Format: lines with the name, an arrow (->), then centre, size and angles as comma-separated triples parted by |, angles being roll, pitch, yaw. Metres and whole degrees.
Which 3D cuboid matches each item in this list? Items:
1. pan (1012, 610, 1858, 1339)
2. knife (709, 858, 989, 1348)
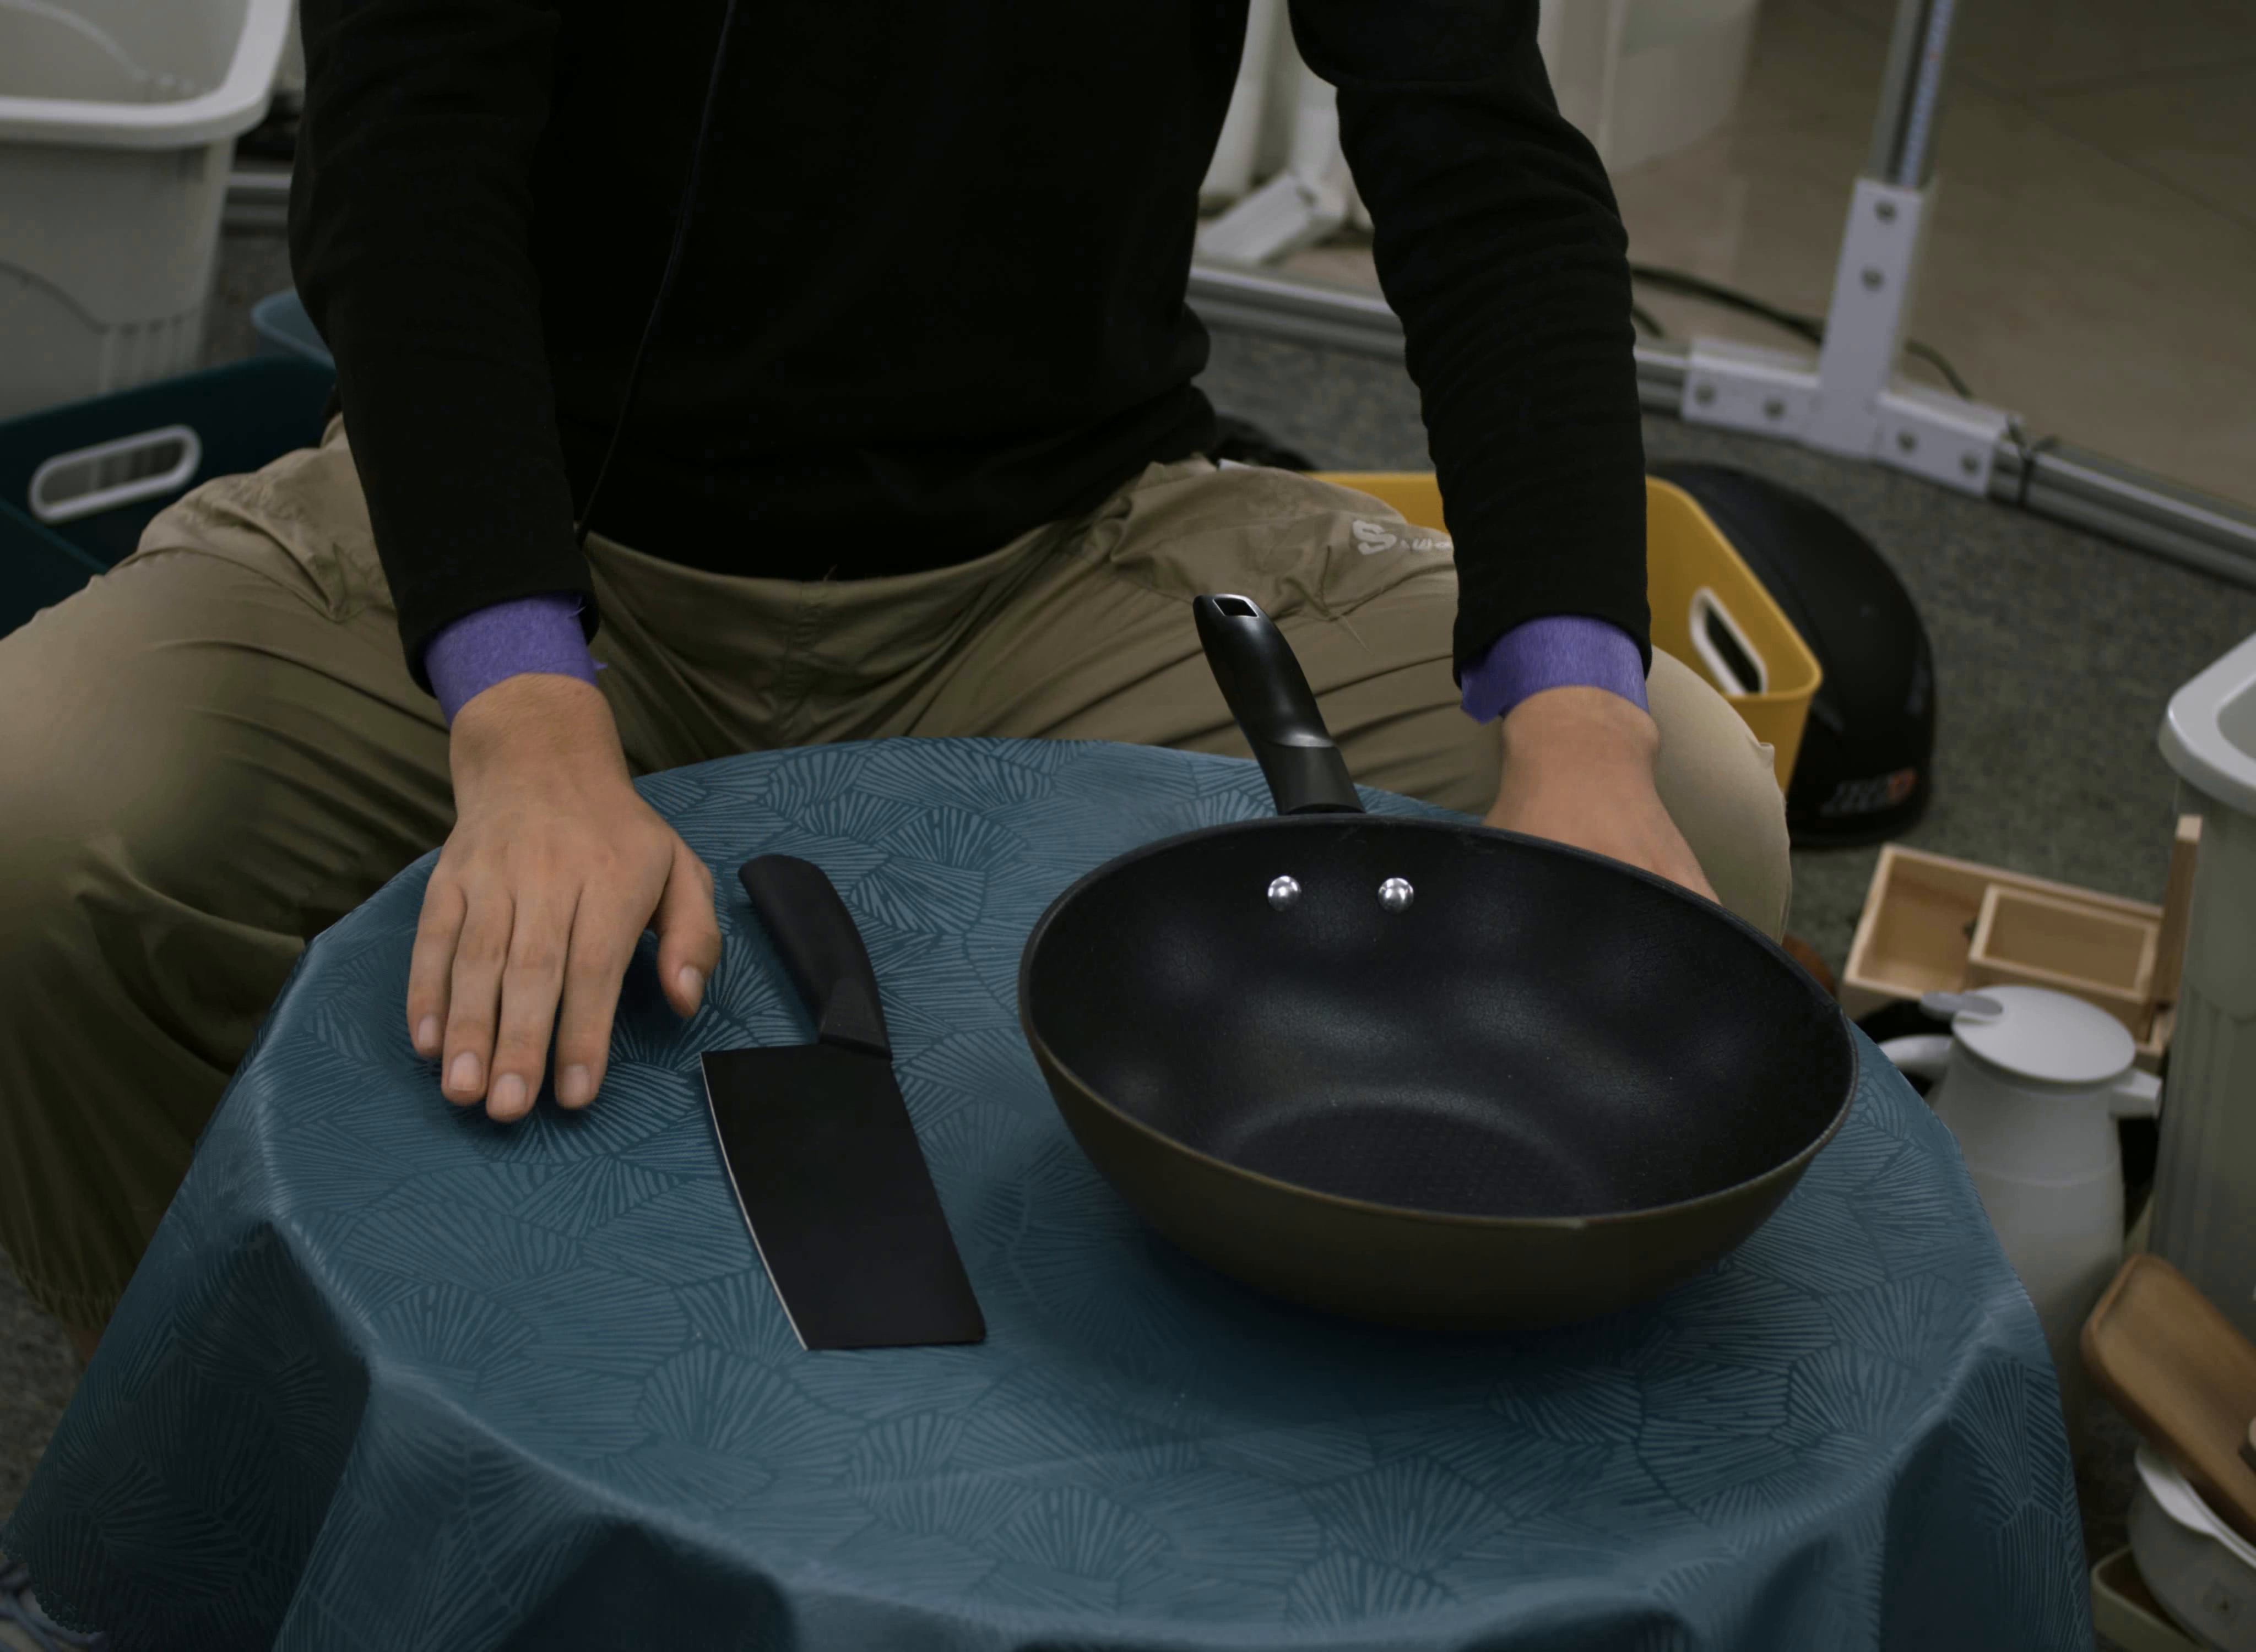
pan -> 0.081, 0.054, 1.871 | 0.286, 0.086, 0.467 | 0, 27, -13
knife -> -0.105, 0.092, 1.829 | 0.080, 0.021, 0.305 | 1, 29, -10
